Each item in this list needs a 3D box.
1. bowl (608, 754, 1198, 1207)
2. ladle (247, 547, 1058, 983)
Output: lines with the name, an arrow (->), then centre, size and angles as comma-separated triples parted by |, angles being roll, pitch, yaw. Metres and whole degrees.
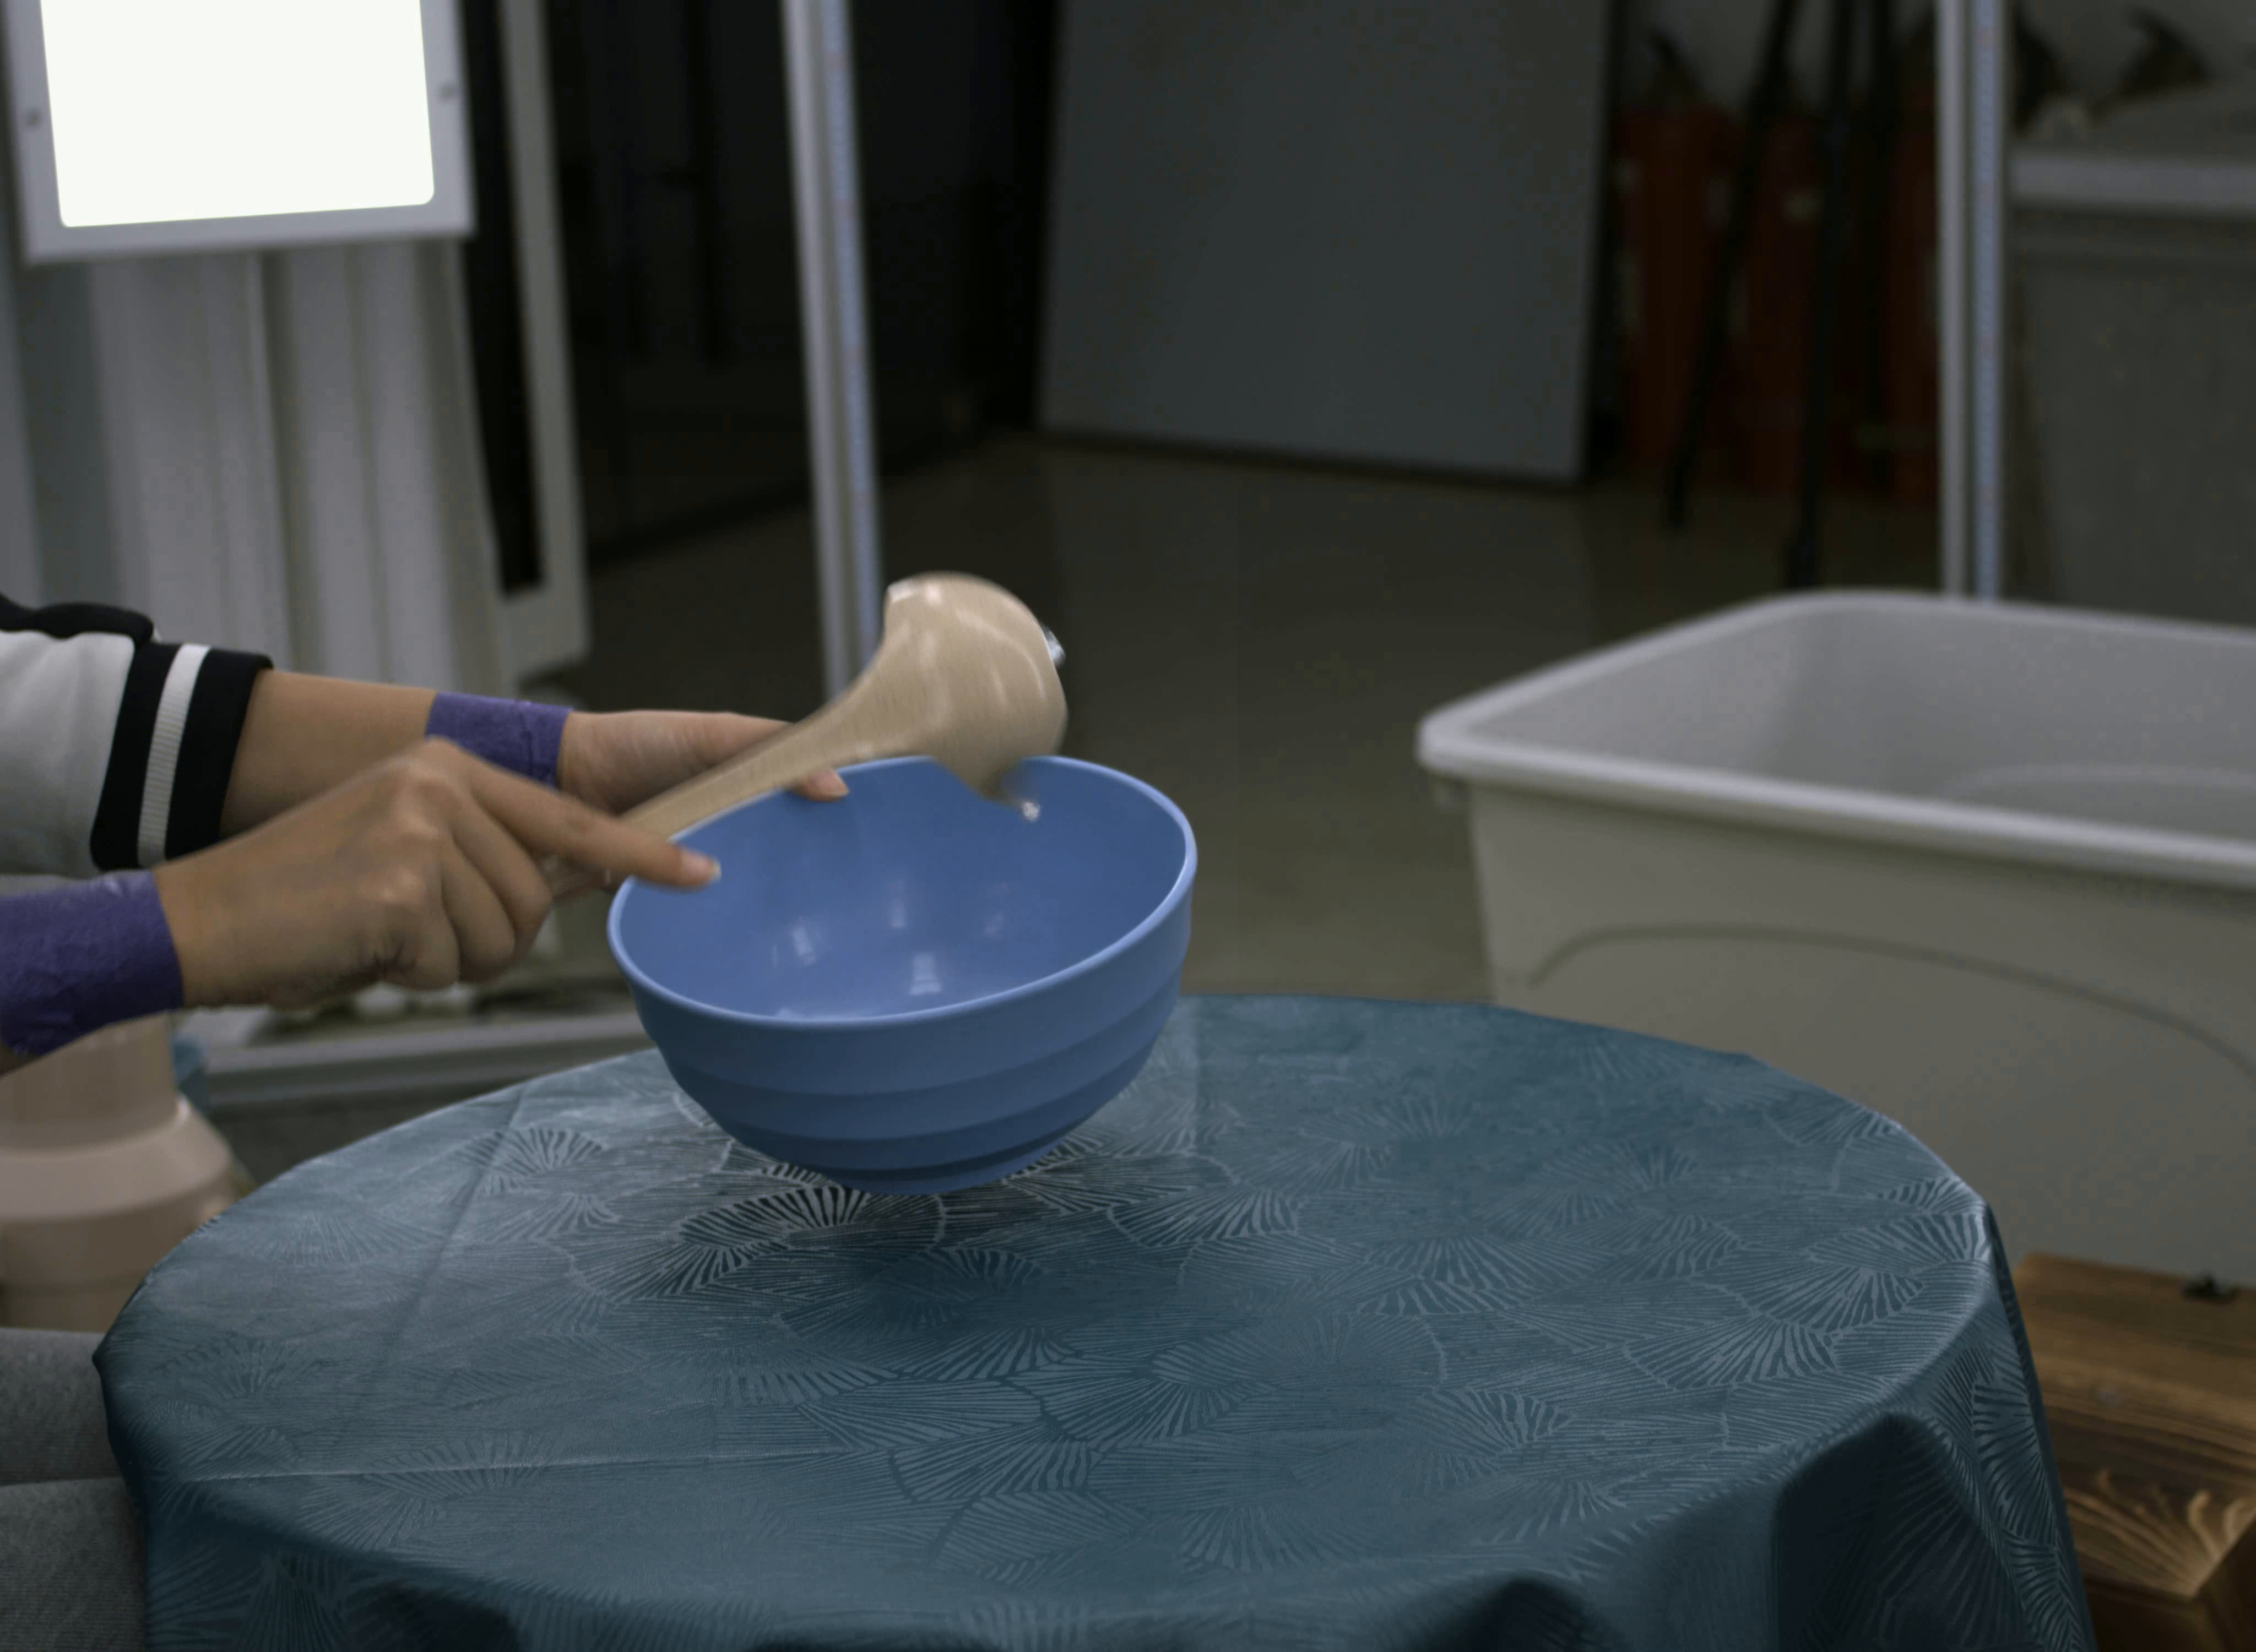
bowl -> -0.068, 0.061, 1.779 | 0.194, 0.096, 0.197 | -7, 25, 2
ladle -> -0.141, -0.007, 1.607 | 0.251, 0.073, 0.073 | -24, -5, -5
